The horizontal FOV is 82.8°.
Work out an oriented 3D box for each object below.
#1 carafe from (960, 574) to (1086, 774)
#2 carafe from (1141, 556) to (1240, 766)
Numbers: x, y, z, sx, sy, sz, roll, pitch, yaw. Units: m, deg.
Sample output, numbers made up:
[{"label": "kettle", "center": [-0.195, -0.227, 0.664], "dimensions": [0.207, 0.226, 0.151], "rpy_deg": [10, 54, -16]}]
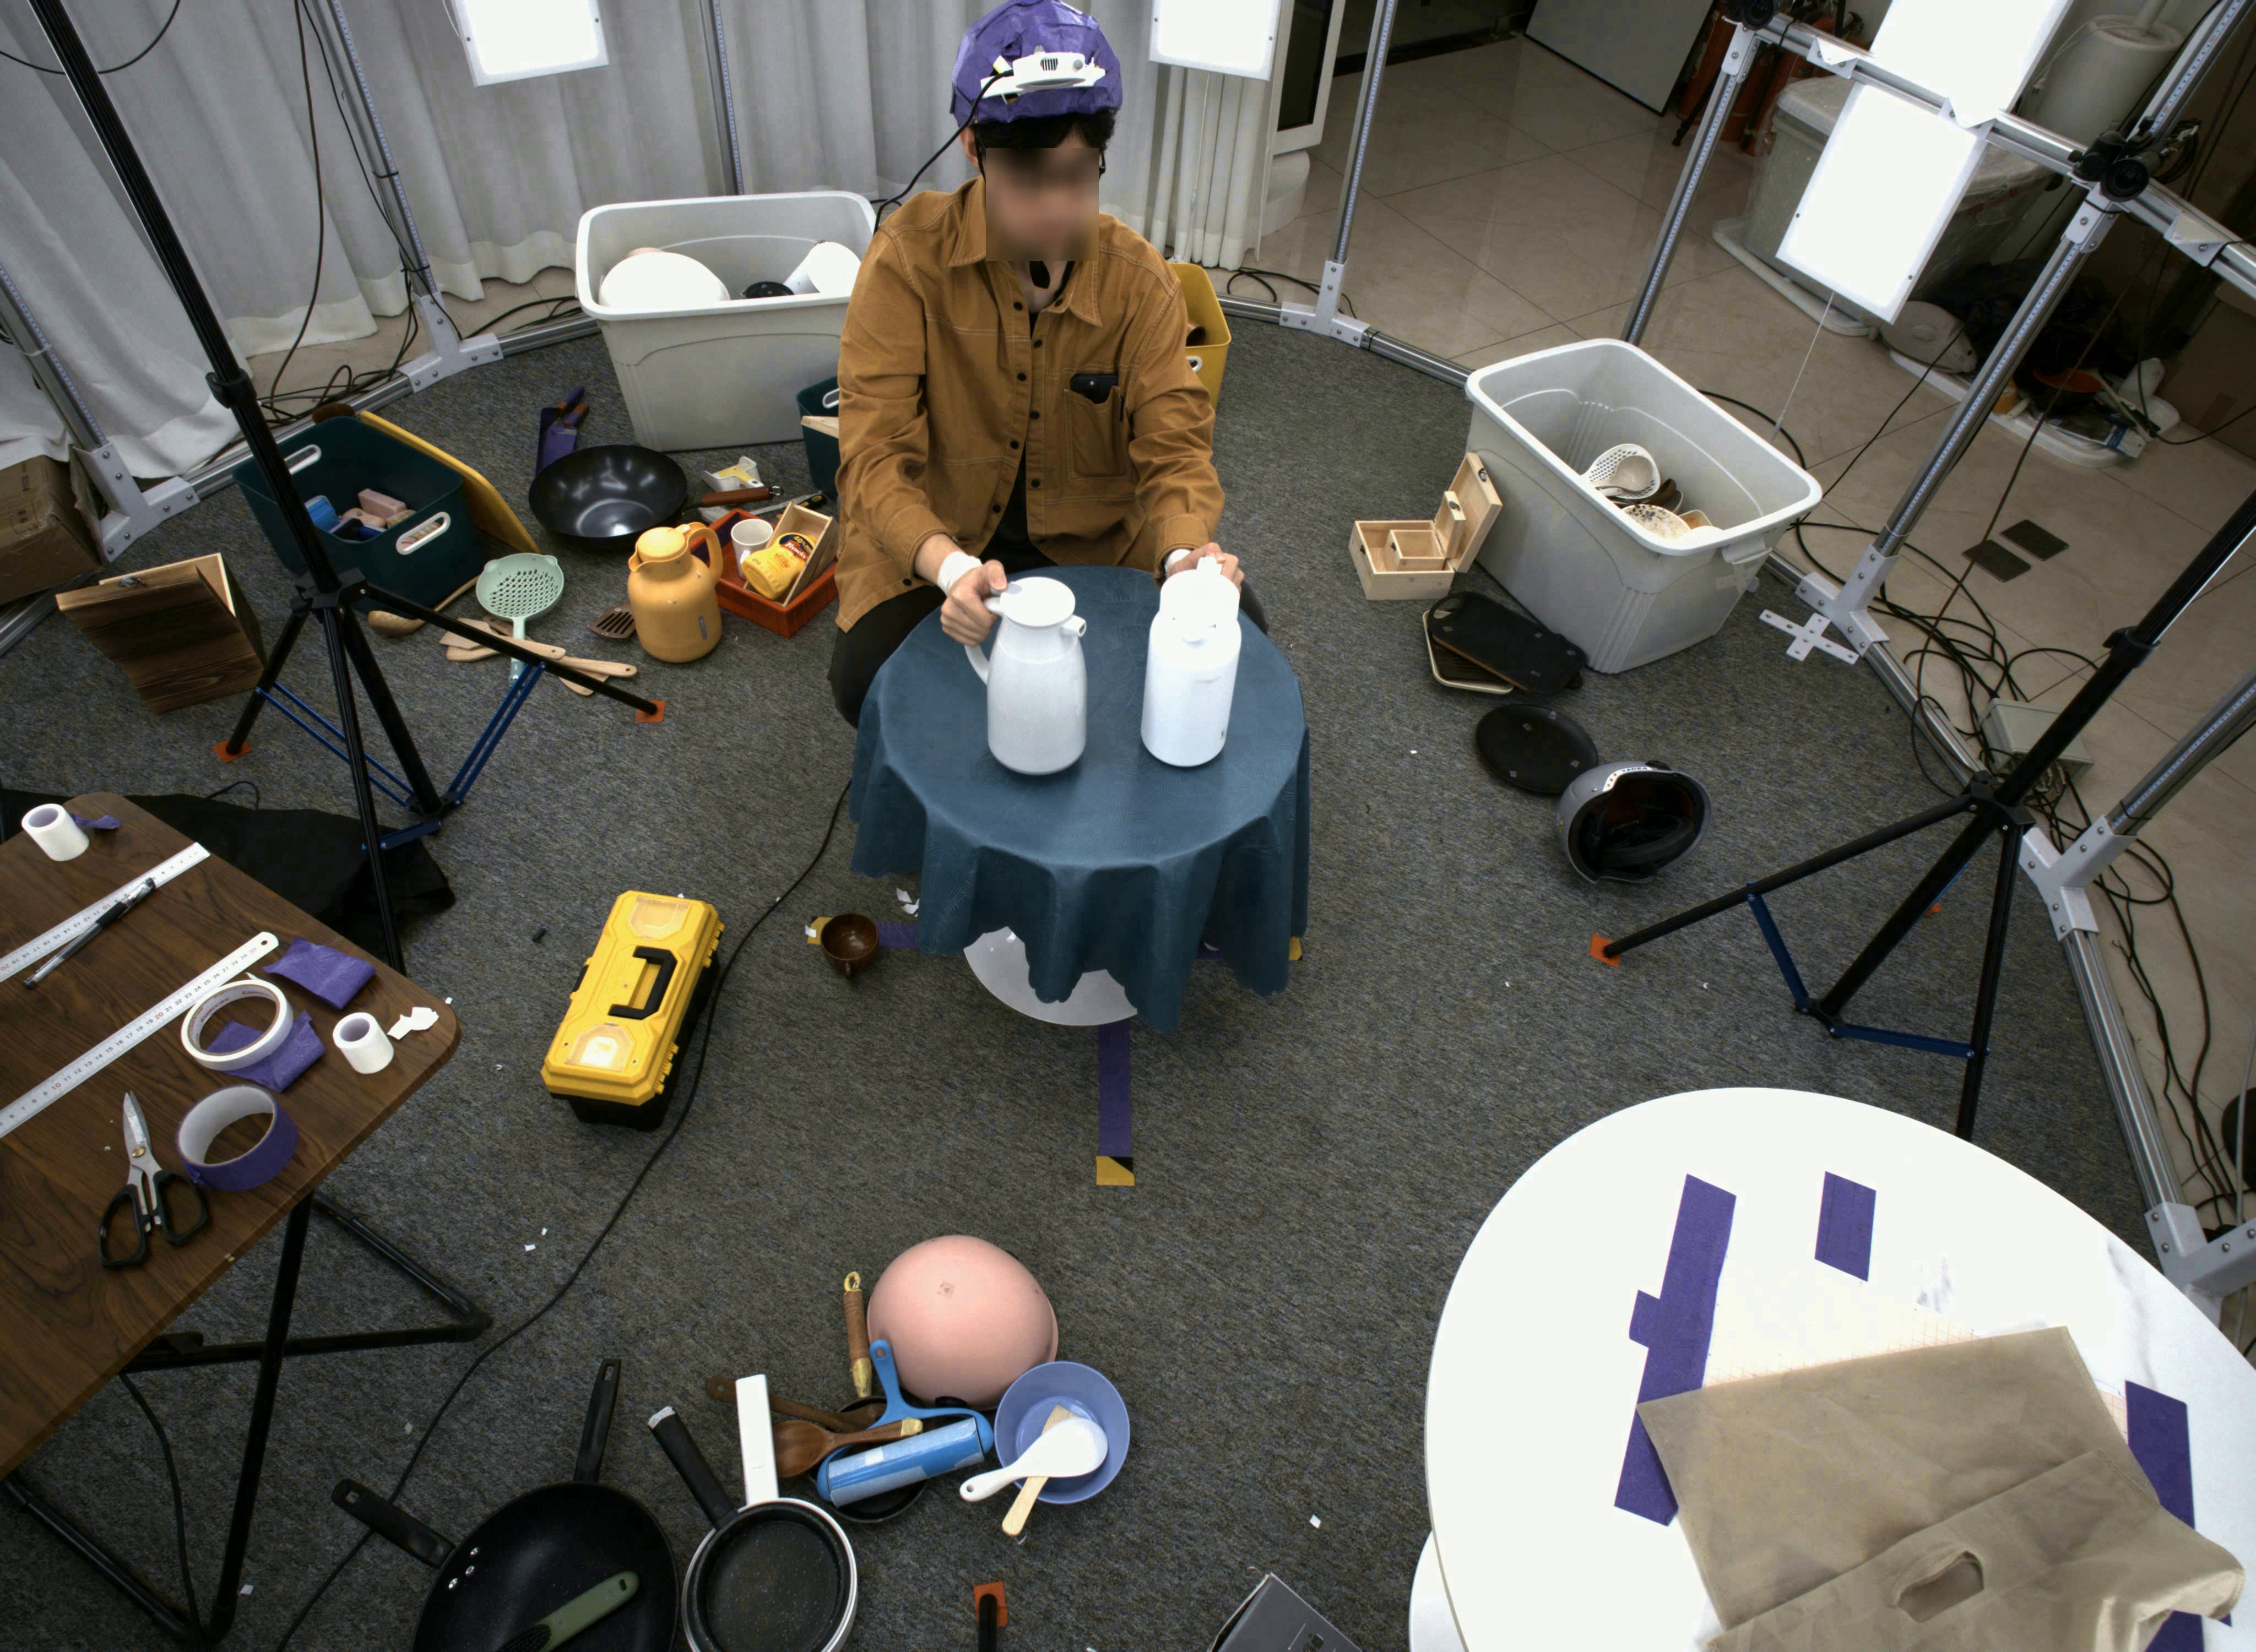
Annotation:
[{"label": "carafe", "center": [-0.136, -0.204, 1.639], "dimensions": [0.169, 0.242, 0.135], "rpy_deg": [20, 50, 15]}, {"label": "carafe", "center": [0.083, -0.217, 1.679], "dimensions": [0.124, 0.262, 0.177], "rpy_deg": [9, 52, 6]}]
